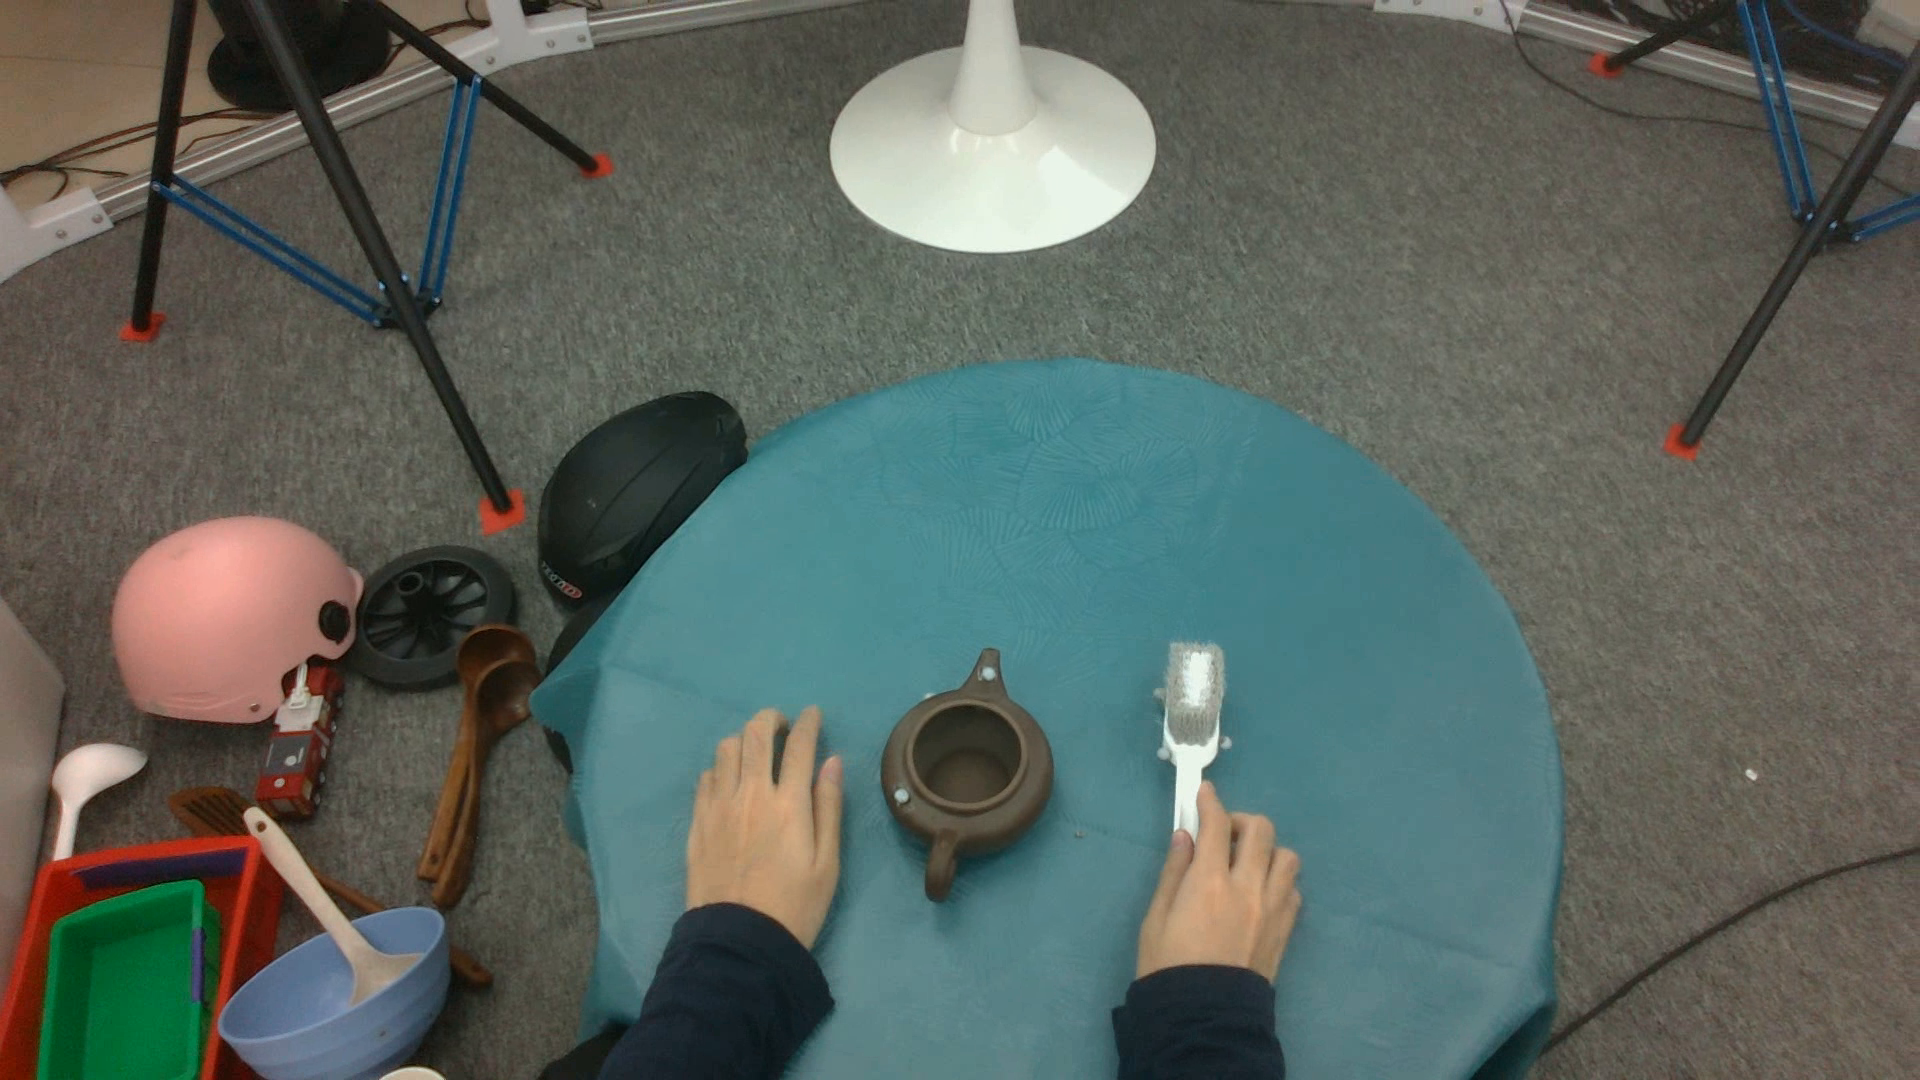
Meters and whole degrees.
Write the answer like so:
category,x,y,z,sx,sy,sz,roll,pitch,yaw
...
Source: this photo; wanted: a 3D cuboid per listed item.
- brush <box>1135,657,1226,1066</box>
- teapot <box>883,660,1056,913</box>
category,x,y,z,sx,sy,sz,roll,pitch,yaw
brush,0.127,0.174,0.794,0.034,0.050,0.245,8,53,9
teapot,0.005,0.146,0.814,0.102,0.053,0.154,4,52,5
